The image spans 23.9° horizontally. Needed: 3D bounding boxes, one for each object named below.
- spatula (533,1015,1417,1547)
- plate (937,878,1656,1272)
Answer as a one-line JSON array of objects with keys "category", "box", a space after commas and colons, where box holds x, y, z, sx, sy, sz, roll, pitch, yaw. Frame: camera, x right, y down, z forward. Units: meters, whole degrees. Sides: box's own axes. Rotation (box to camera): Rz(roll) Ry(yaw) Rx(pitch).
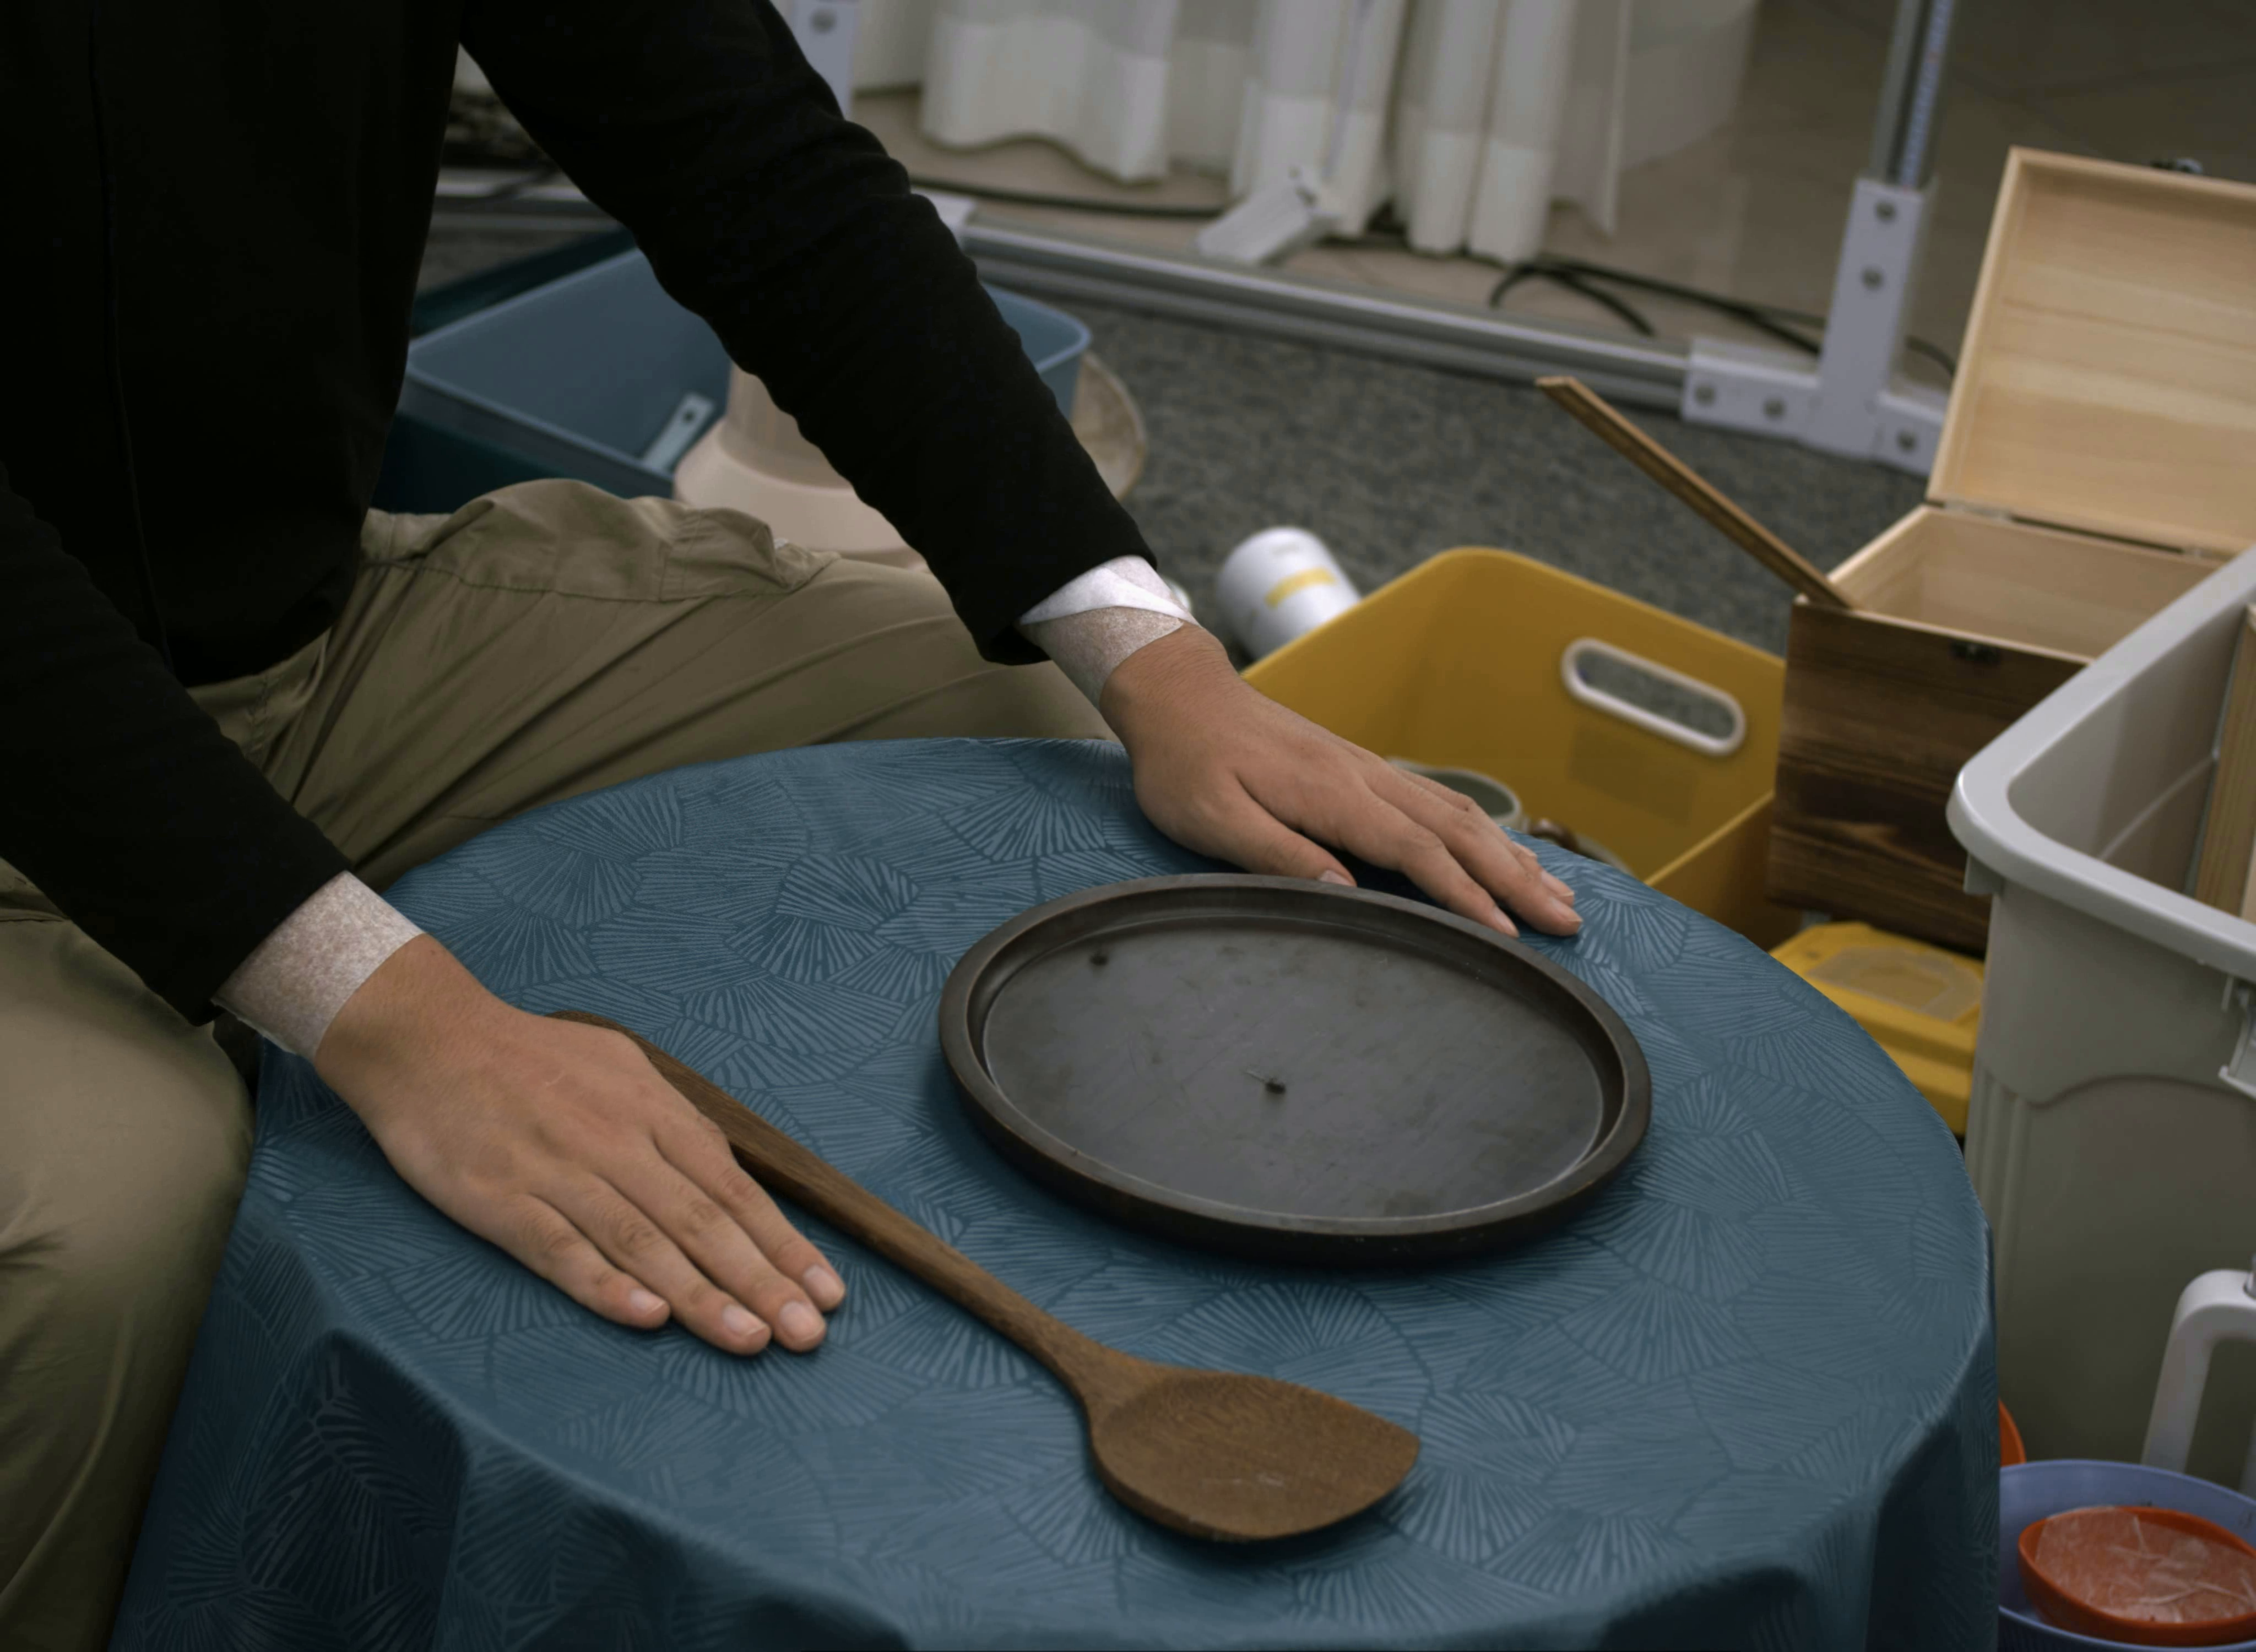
[{"category": "spatula", "box": [-0.068, 0.140, 1.739, 0.095, 0.016, 0.389, -19, 36, -42]}, {"category": "plate", "box": [0.058, 0.085, 1.865, 0.254, 0.029, 0.256, 5, 28, -3]}]
